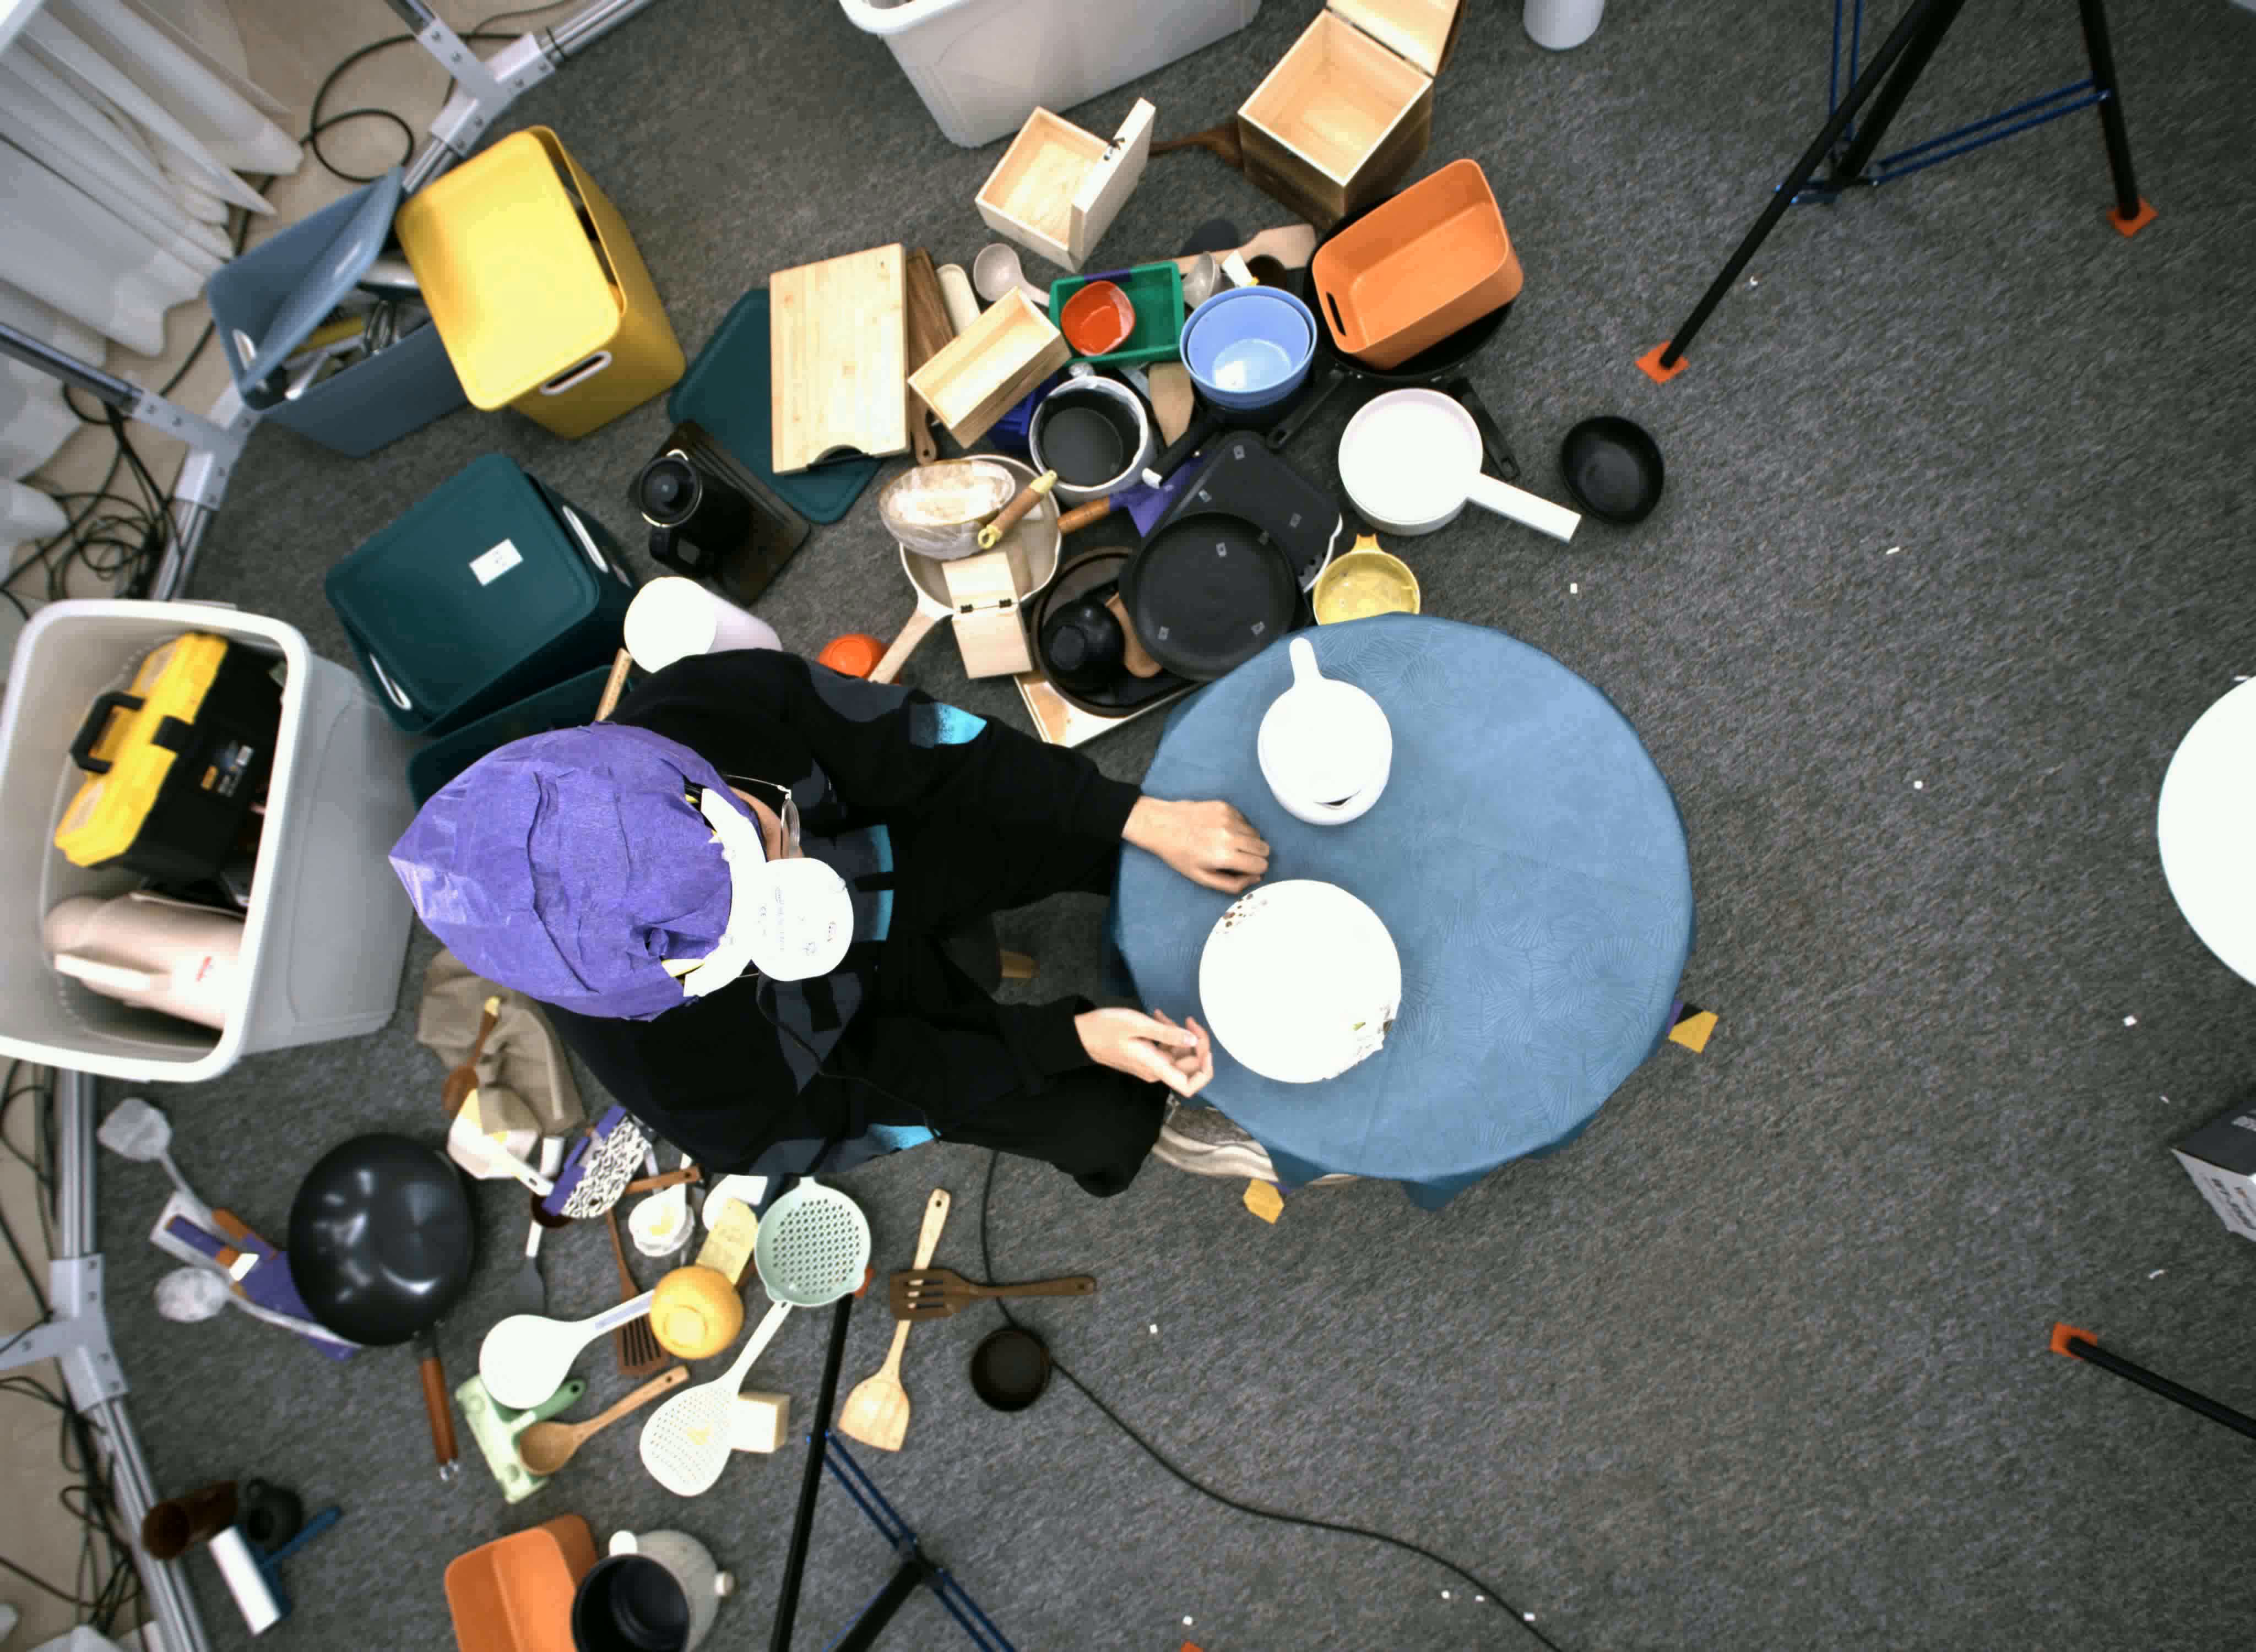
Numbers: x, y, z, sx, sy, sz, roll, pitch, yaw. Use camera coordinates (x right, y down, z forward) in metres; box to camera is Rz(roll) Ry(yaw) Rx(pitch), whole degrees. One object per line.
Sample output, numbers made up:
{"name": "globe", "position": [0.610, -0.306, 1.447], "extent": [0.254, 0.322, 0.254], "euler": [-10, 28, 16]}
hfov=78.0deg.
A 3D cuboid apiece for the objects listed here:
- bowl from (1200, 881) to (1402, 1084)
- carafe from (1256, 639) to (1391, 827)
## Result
{"name": "bowl", "position": [0.180, 0.160, 1.430], "extent": [0.205, 0.078, 0.203], "euler": [-1, 86, 12]}
{"name": "carafe", "position": [0.191, -0.097, 1.392], "extent": [0.133, 0.183, 0.189], "euler": [-16, 81, 7]}
